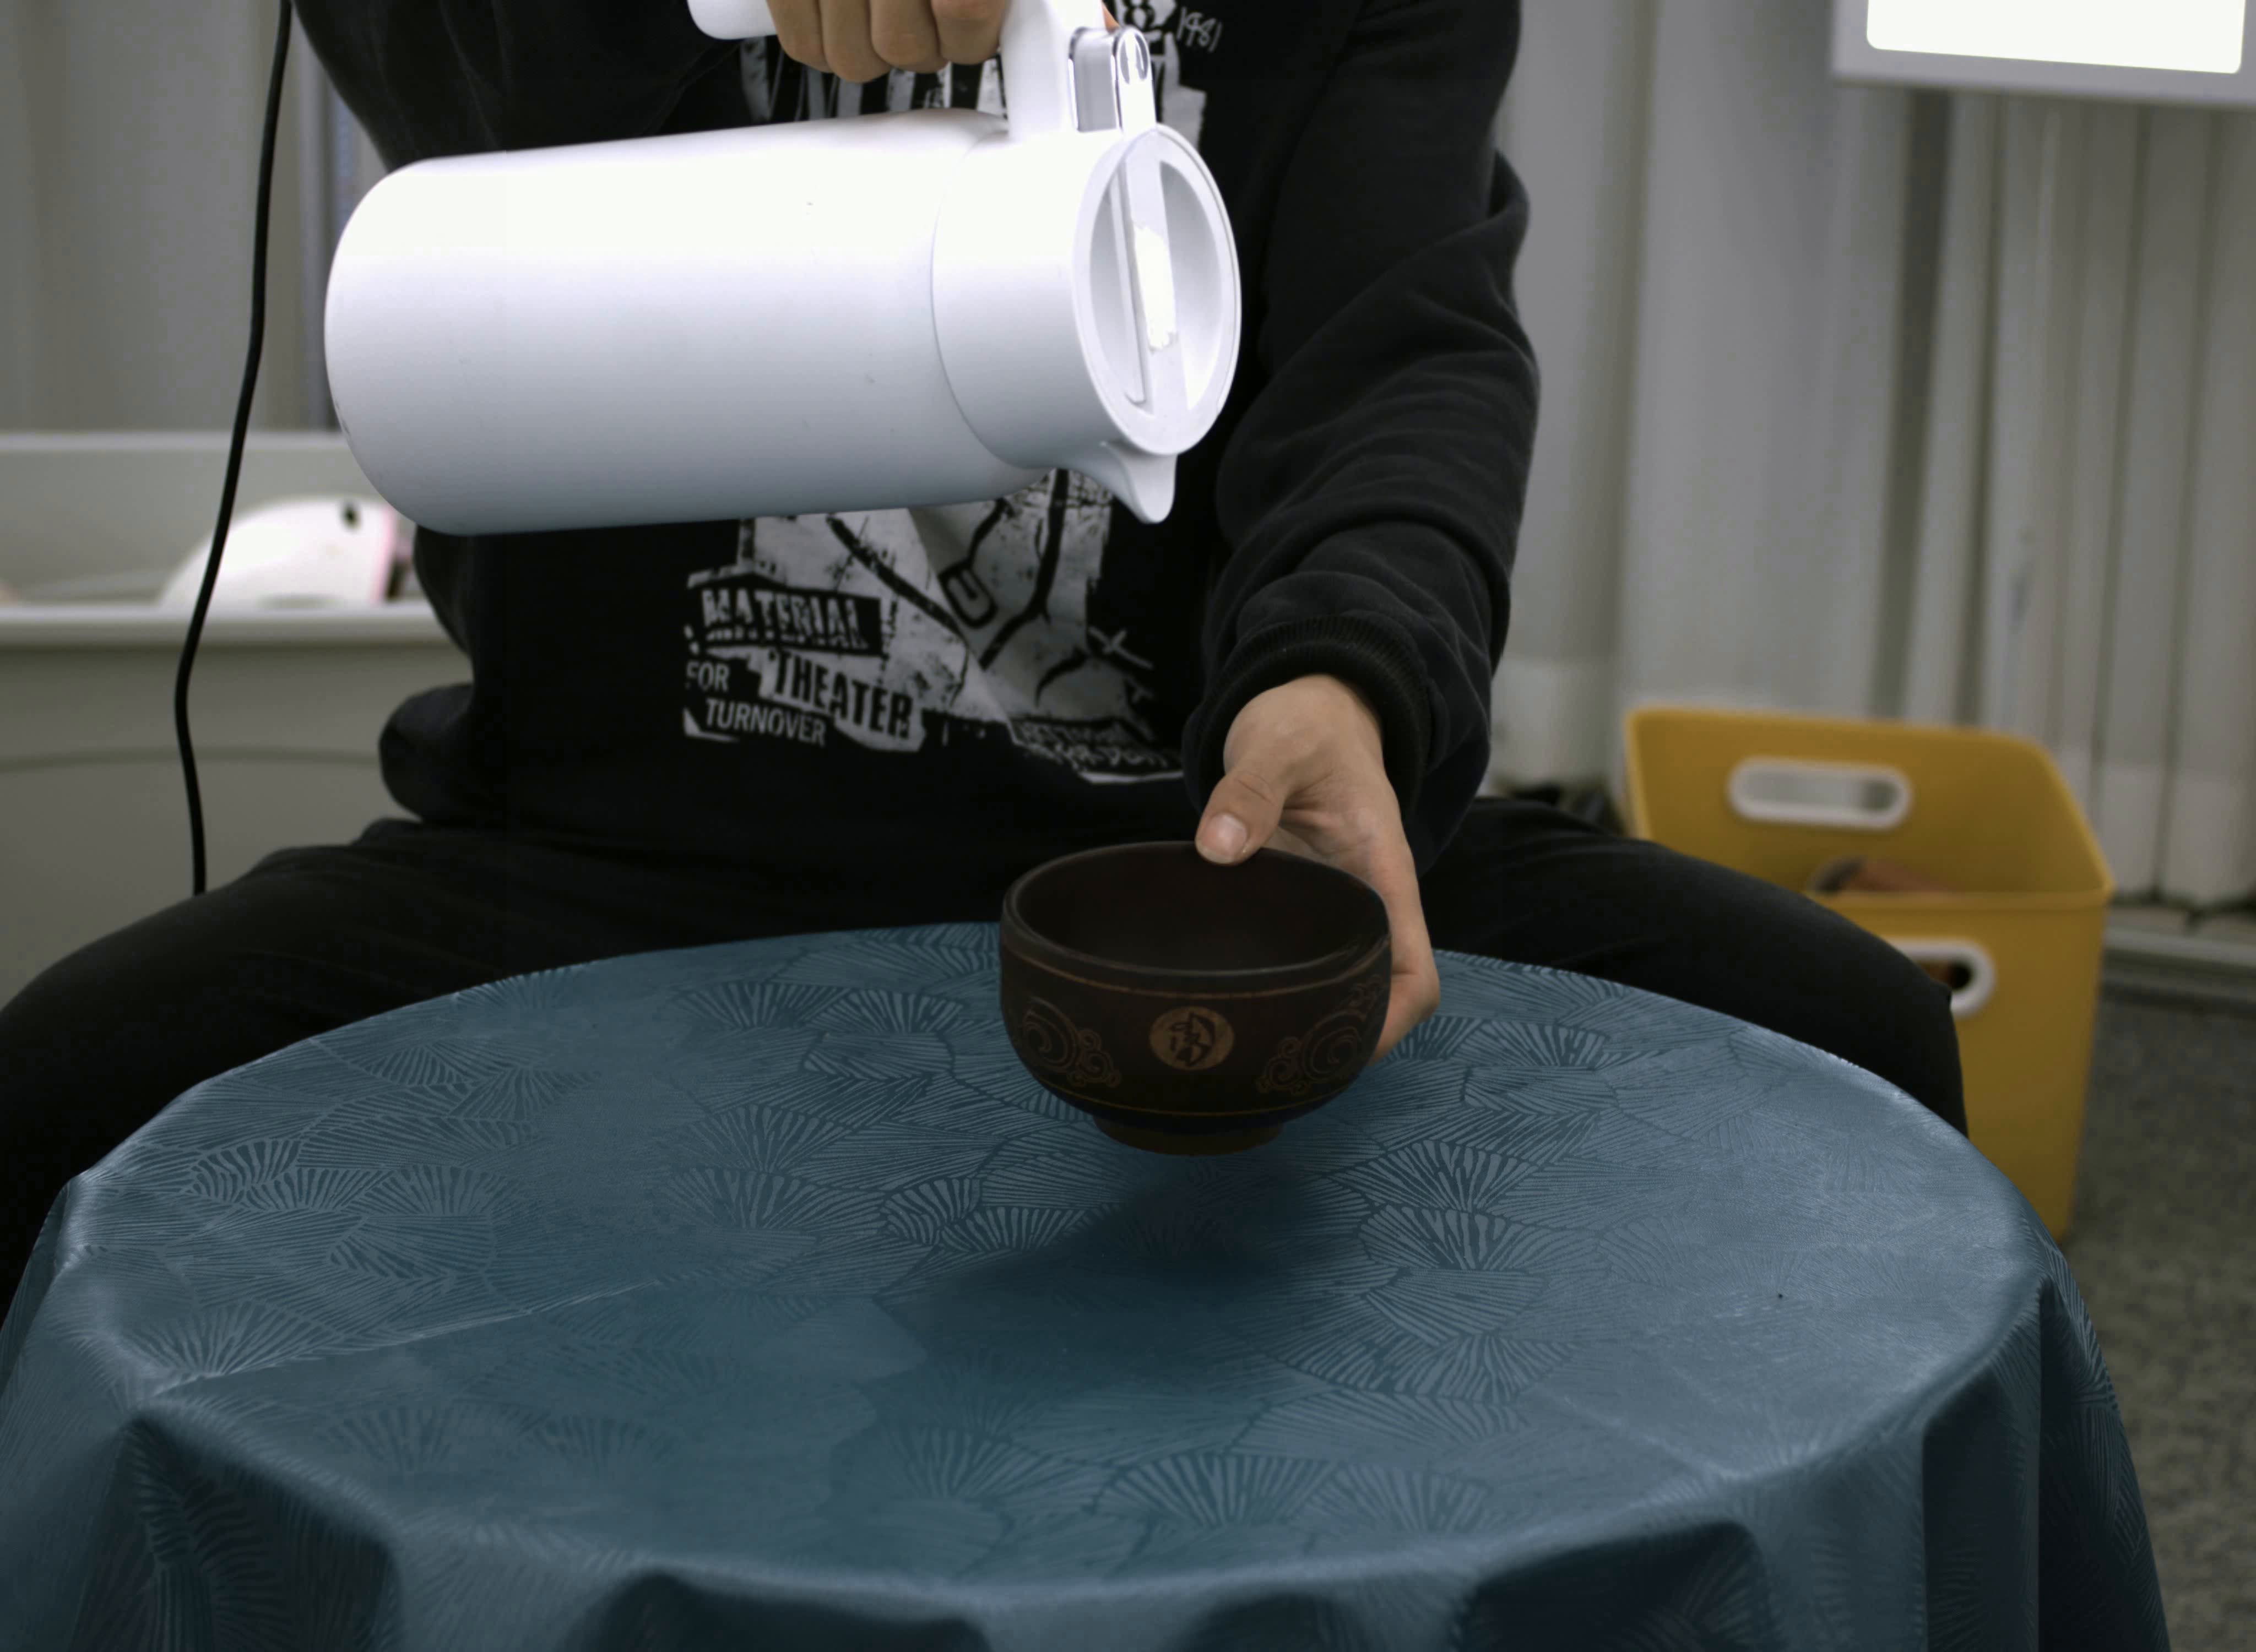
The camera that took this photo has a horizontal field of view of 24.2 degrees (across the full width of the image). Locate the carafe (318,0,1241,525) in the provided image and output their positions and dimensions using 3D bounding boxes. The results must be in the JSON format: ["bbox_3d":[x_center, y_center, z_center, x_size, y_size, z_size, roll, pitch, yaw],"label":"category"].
[{"bbox_3d":[-0.107,-0.170,1.566,0.266,0.174,0.124,-1,12,31],"label":"carafe"}]

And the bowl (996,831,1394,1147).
[{"bbox_3d":[0.019,0.053,1.555,0.117,0.070,0.117,1,19,0],"label":"bowl"}]
